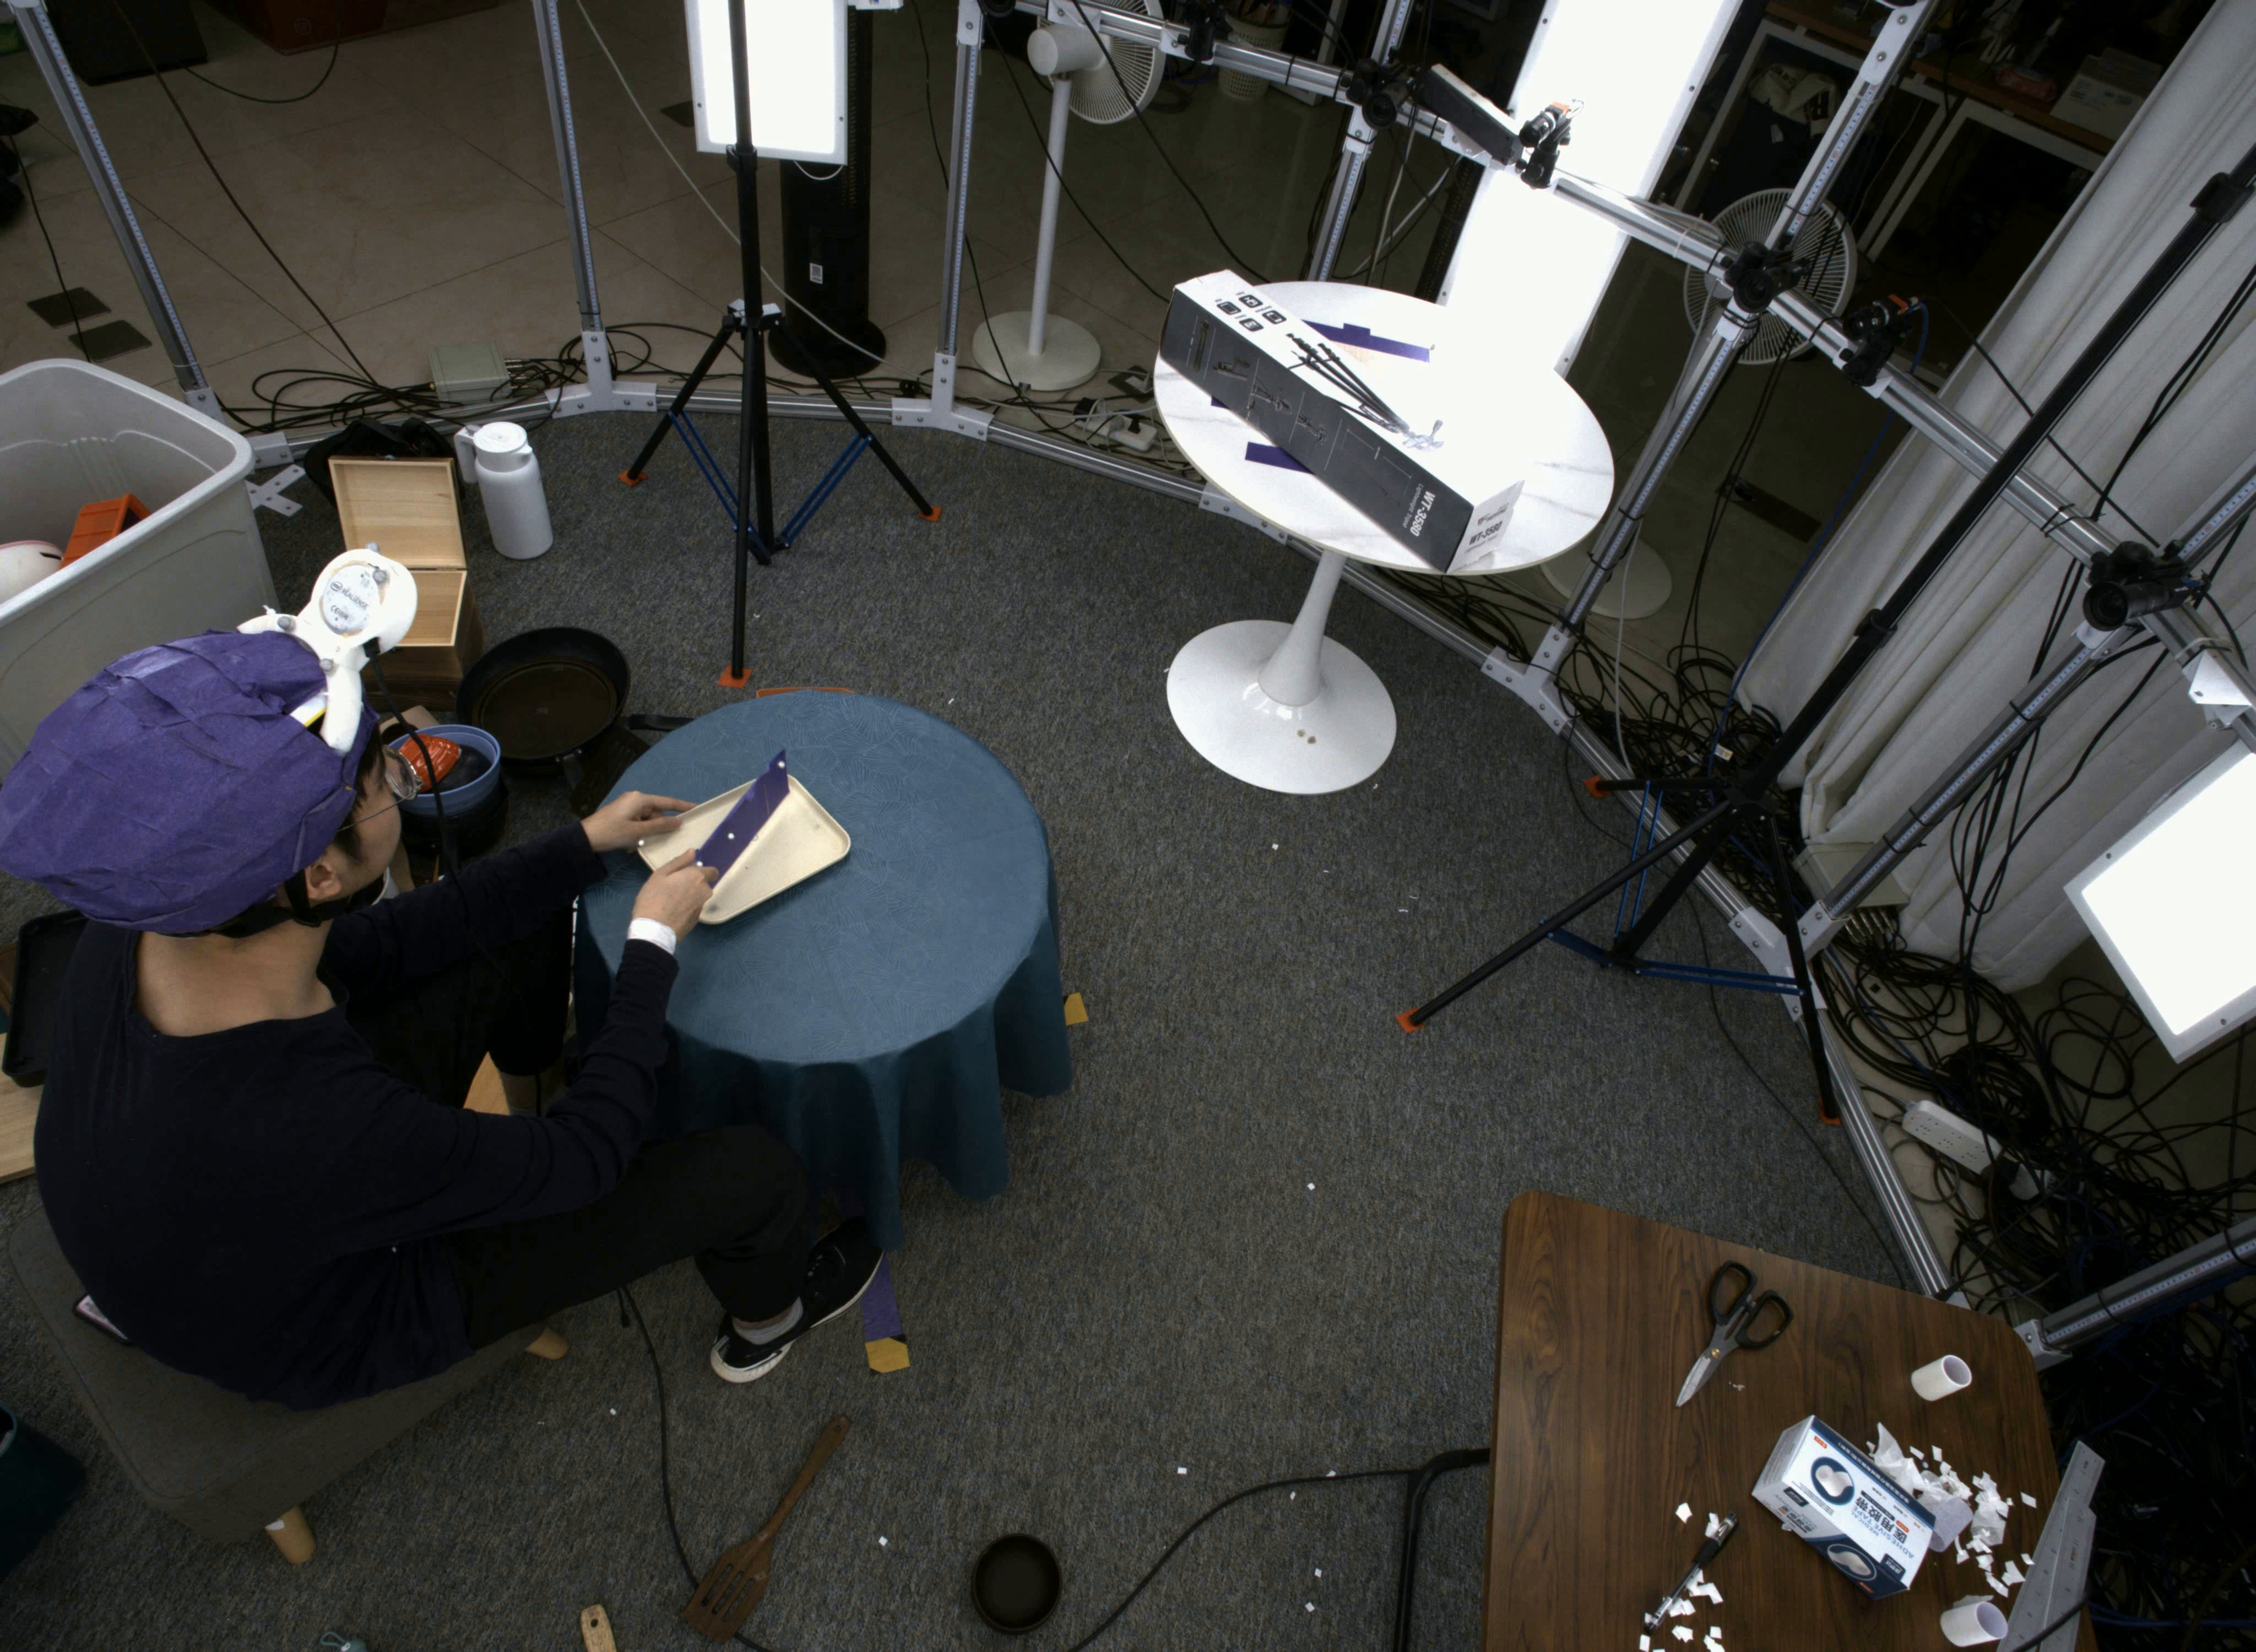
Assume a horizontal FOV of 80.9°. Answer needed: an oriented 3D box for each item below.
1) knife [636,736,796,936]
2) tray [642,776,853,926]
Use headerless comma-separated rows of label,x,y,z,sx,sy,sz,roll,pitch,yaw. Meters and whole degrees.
knife,-0.495,0.026,1.586,0.031,0.106,0.313,21,52,11
tray,-0.490,0.026,1.672,0.168,0.018,0.241,45,50,16
